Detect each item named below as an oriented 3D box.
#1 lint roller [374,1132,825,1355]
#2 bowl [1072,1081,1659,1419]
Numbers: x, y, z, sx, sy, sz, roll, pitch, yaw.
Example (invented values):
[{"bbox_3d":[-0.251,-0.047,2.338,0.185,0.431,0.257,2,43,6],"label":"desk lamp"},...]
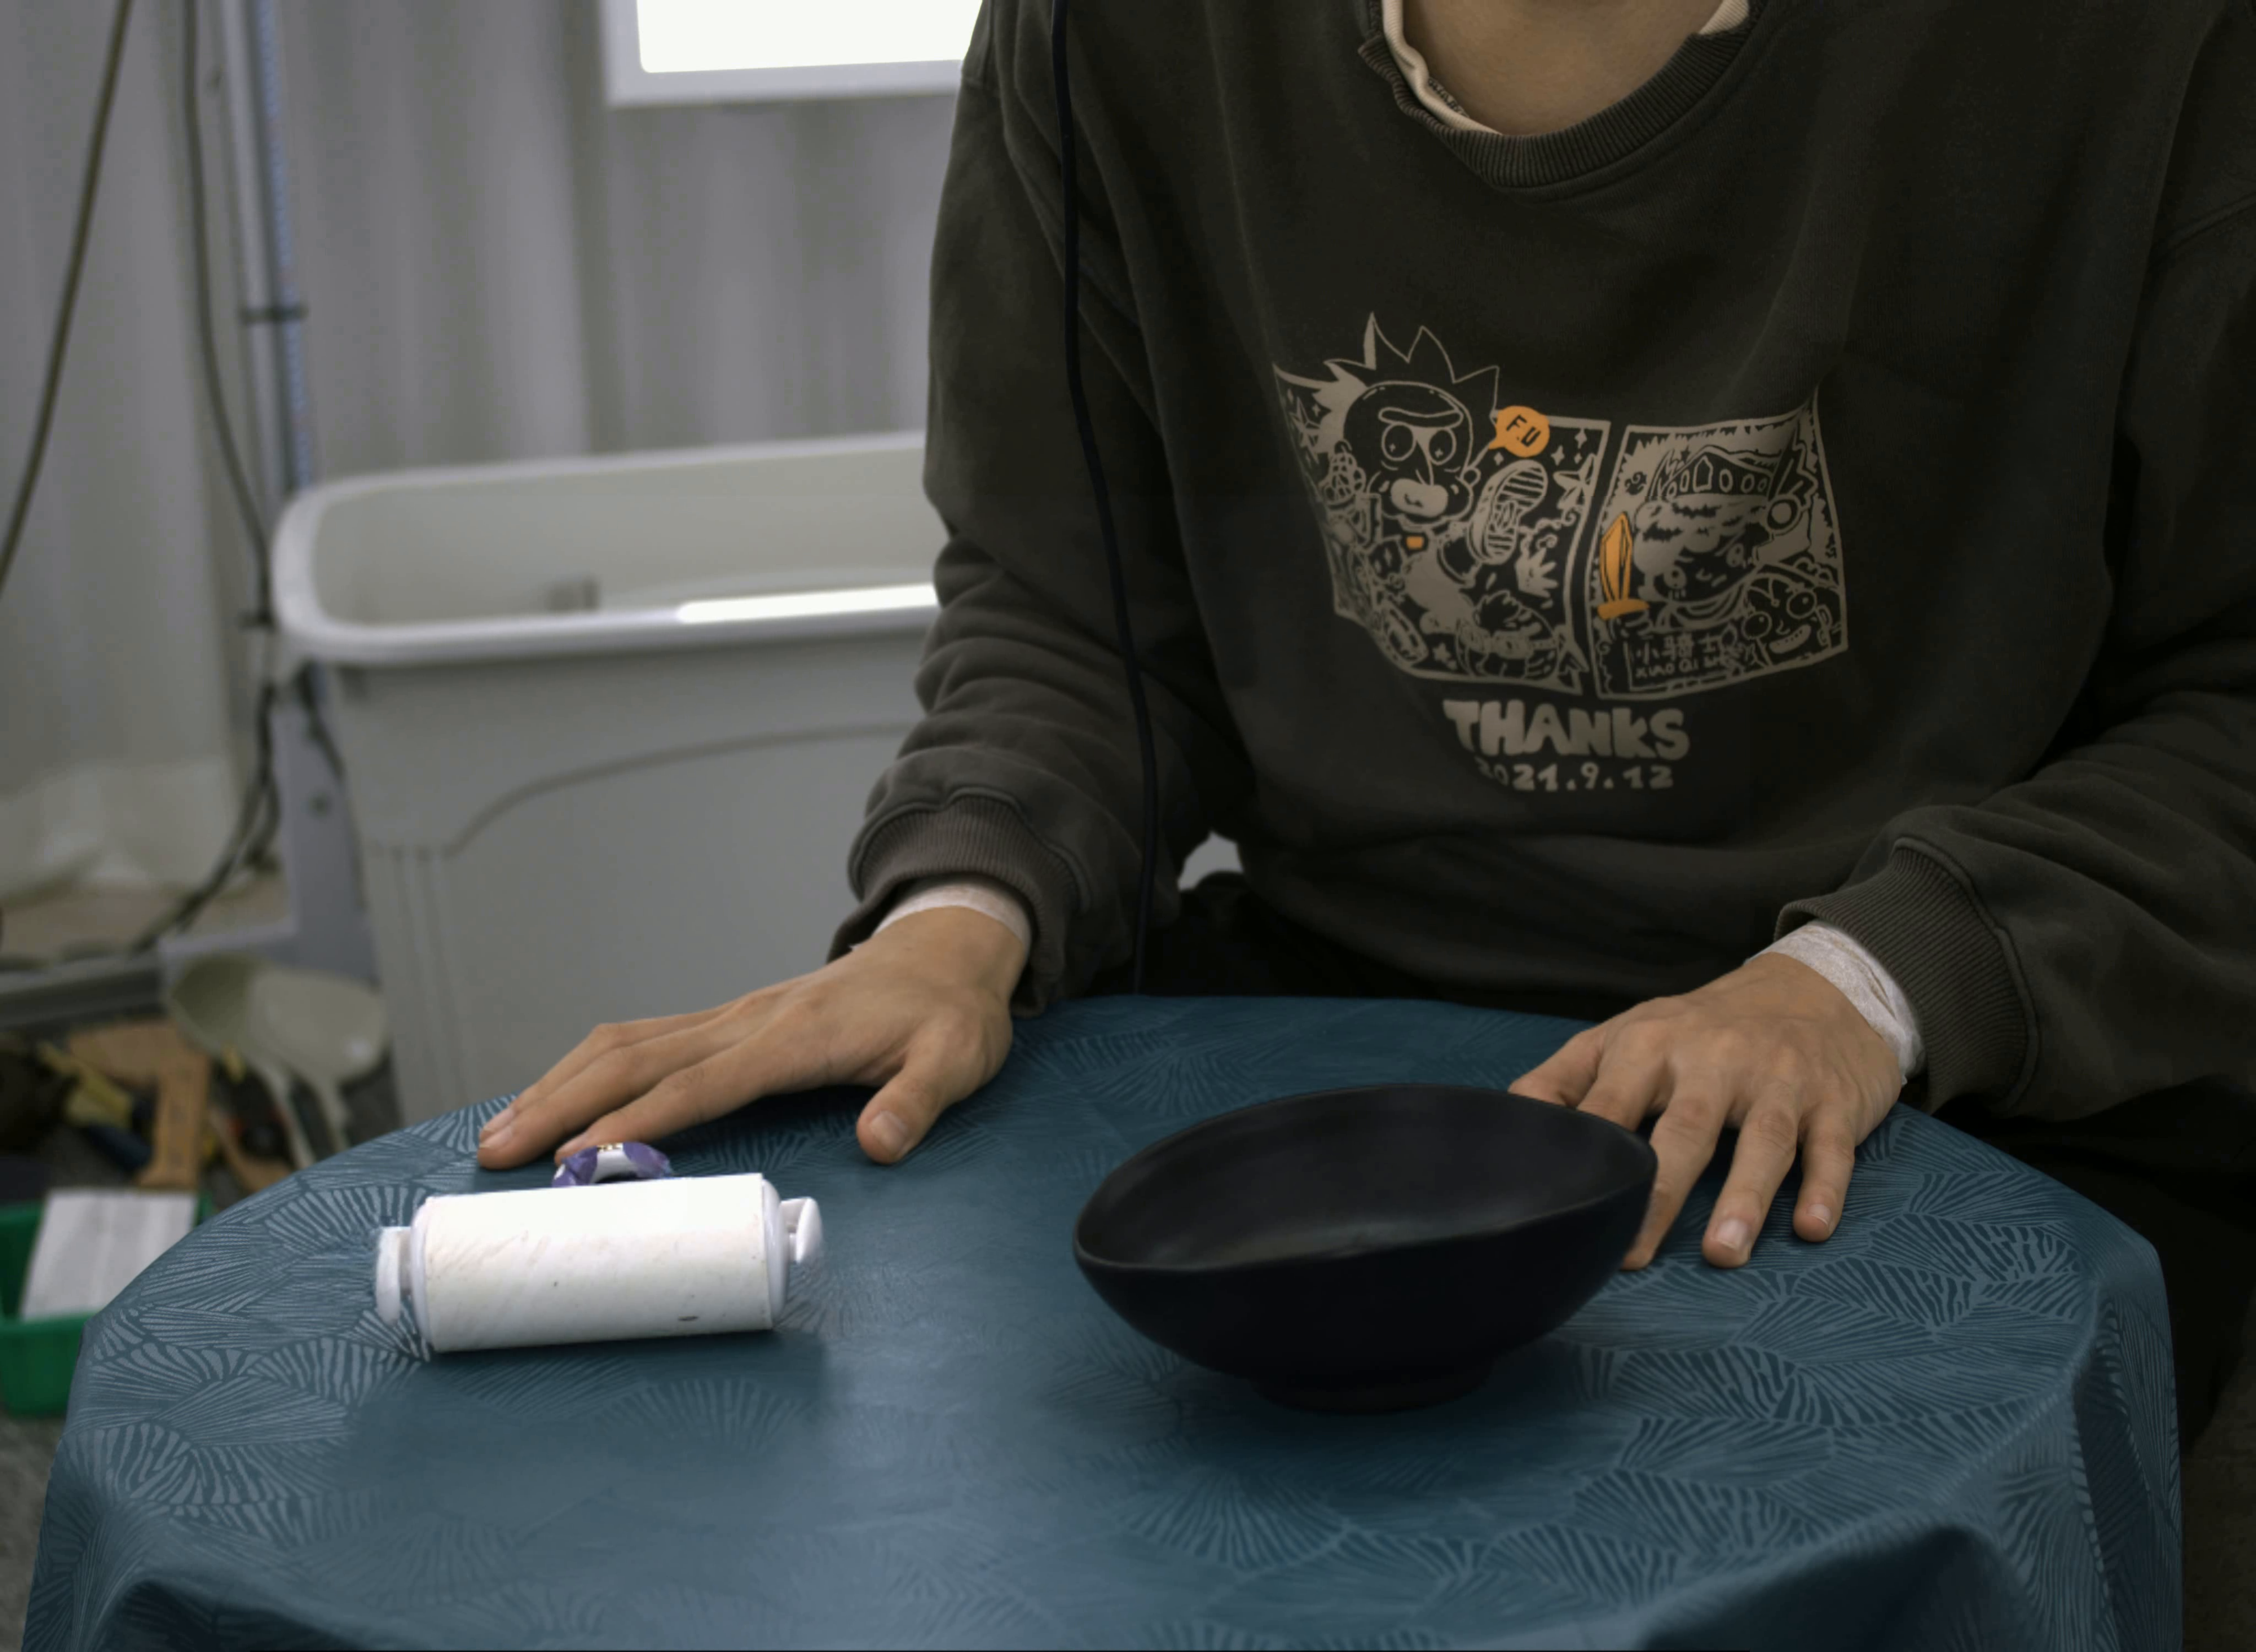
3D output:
[{"bbox_3d":[-0.158,0.111,1.675,0.132,0.050,0.182,-4,17,-1],"label":"lint roller"},{"bbox_3d":[0.070,0.126,1.546,0.169,0.066,0.138,-9,15,-17],"label":"bowl"}]
